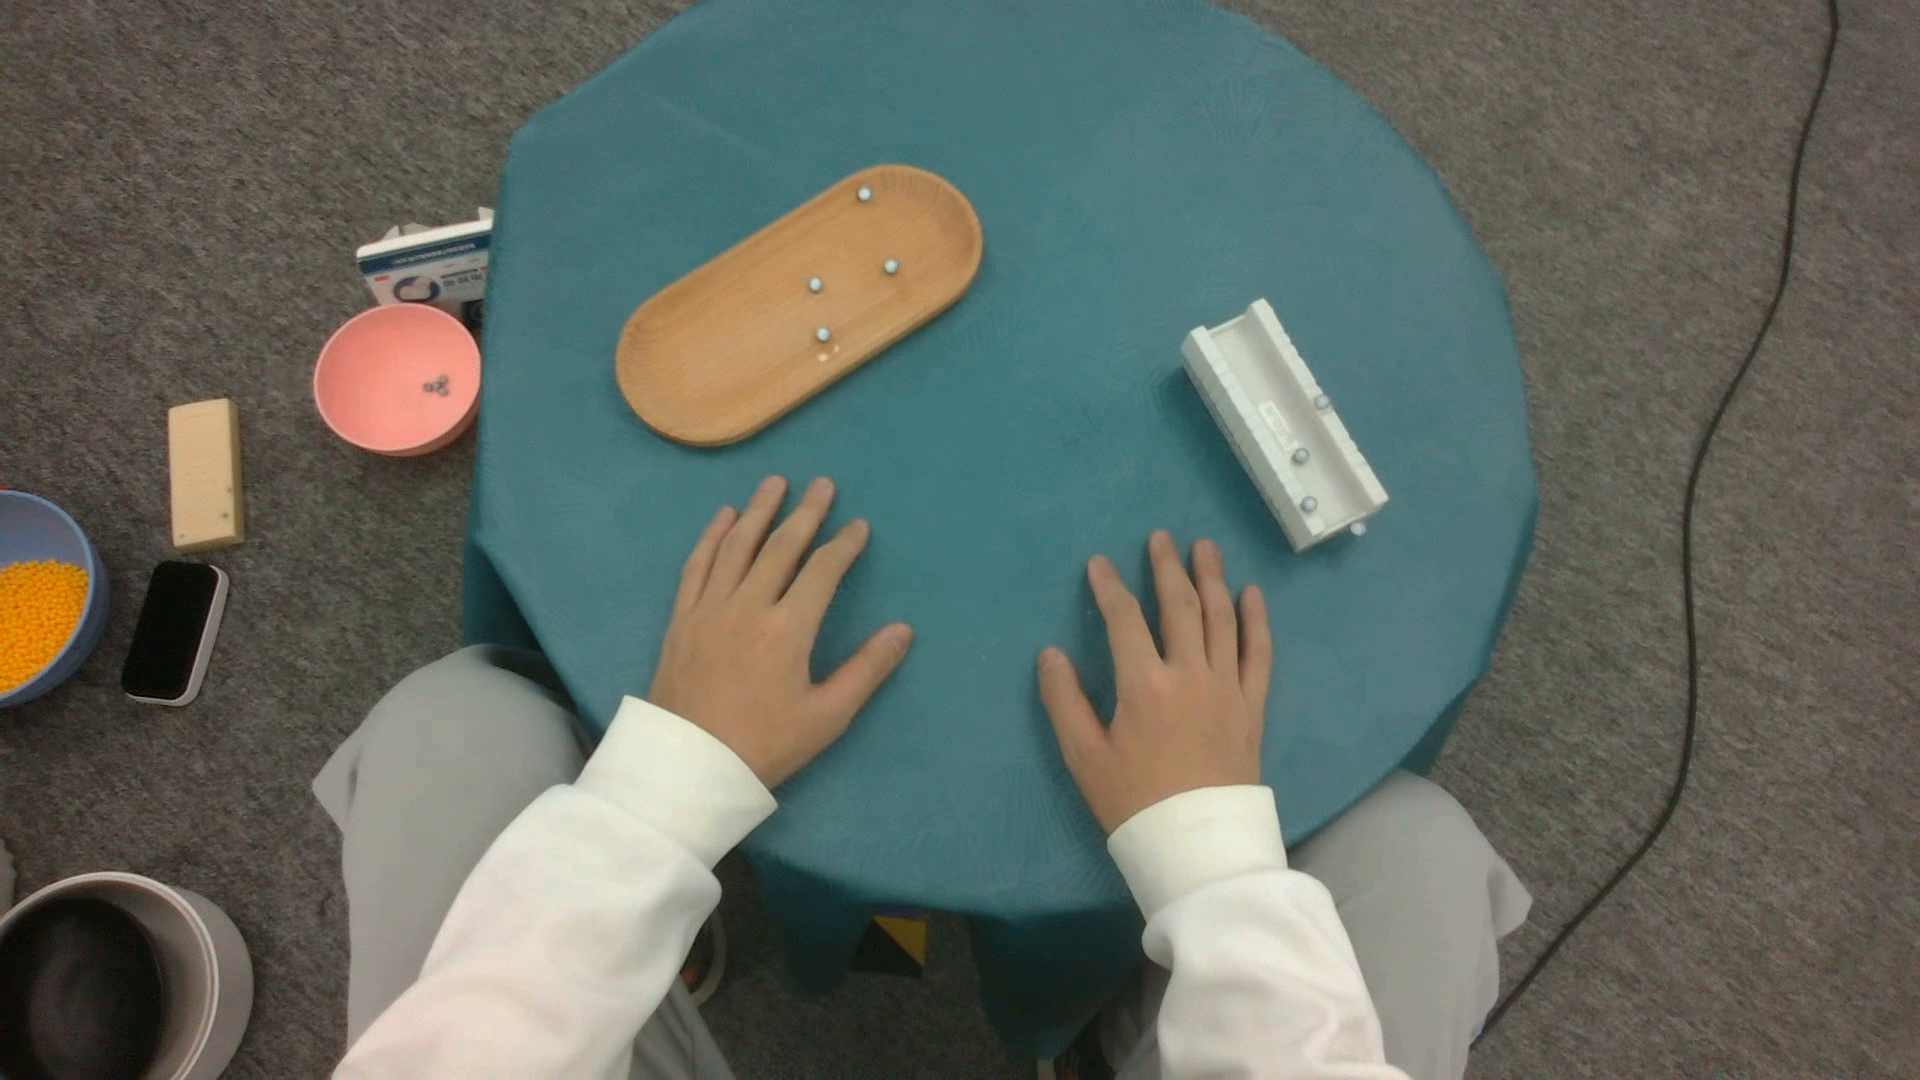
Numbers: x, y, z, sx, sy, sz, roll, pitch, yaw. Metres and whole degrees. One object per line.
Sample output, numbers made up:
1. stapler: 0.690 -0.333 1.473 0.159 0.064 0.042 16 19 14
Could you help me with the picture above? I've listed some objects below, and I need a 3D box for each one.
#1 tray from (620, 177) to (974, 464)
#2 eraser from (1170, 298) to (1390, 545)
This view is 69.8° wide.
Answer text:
1. tray: -0.093 -0.130 0.805 0.231 0.020 0.102 -38 75 -12
2. eraser: 0.177 -0.066 0.776 0.050 0.046 0.134 -32 75 -7
